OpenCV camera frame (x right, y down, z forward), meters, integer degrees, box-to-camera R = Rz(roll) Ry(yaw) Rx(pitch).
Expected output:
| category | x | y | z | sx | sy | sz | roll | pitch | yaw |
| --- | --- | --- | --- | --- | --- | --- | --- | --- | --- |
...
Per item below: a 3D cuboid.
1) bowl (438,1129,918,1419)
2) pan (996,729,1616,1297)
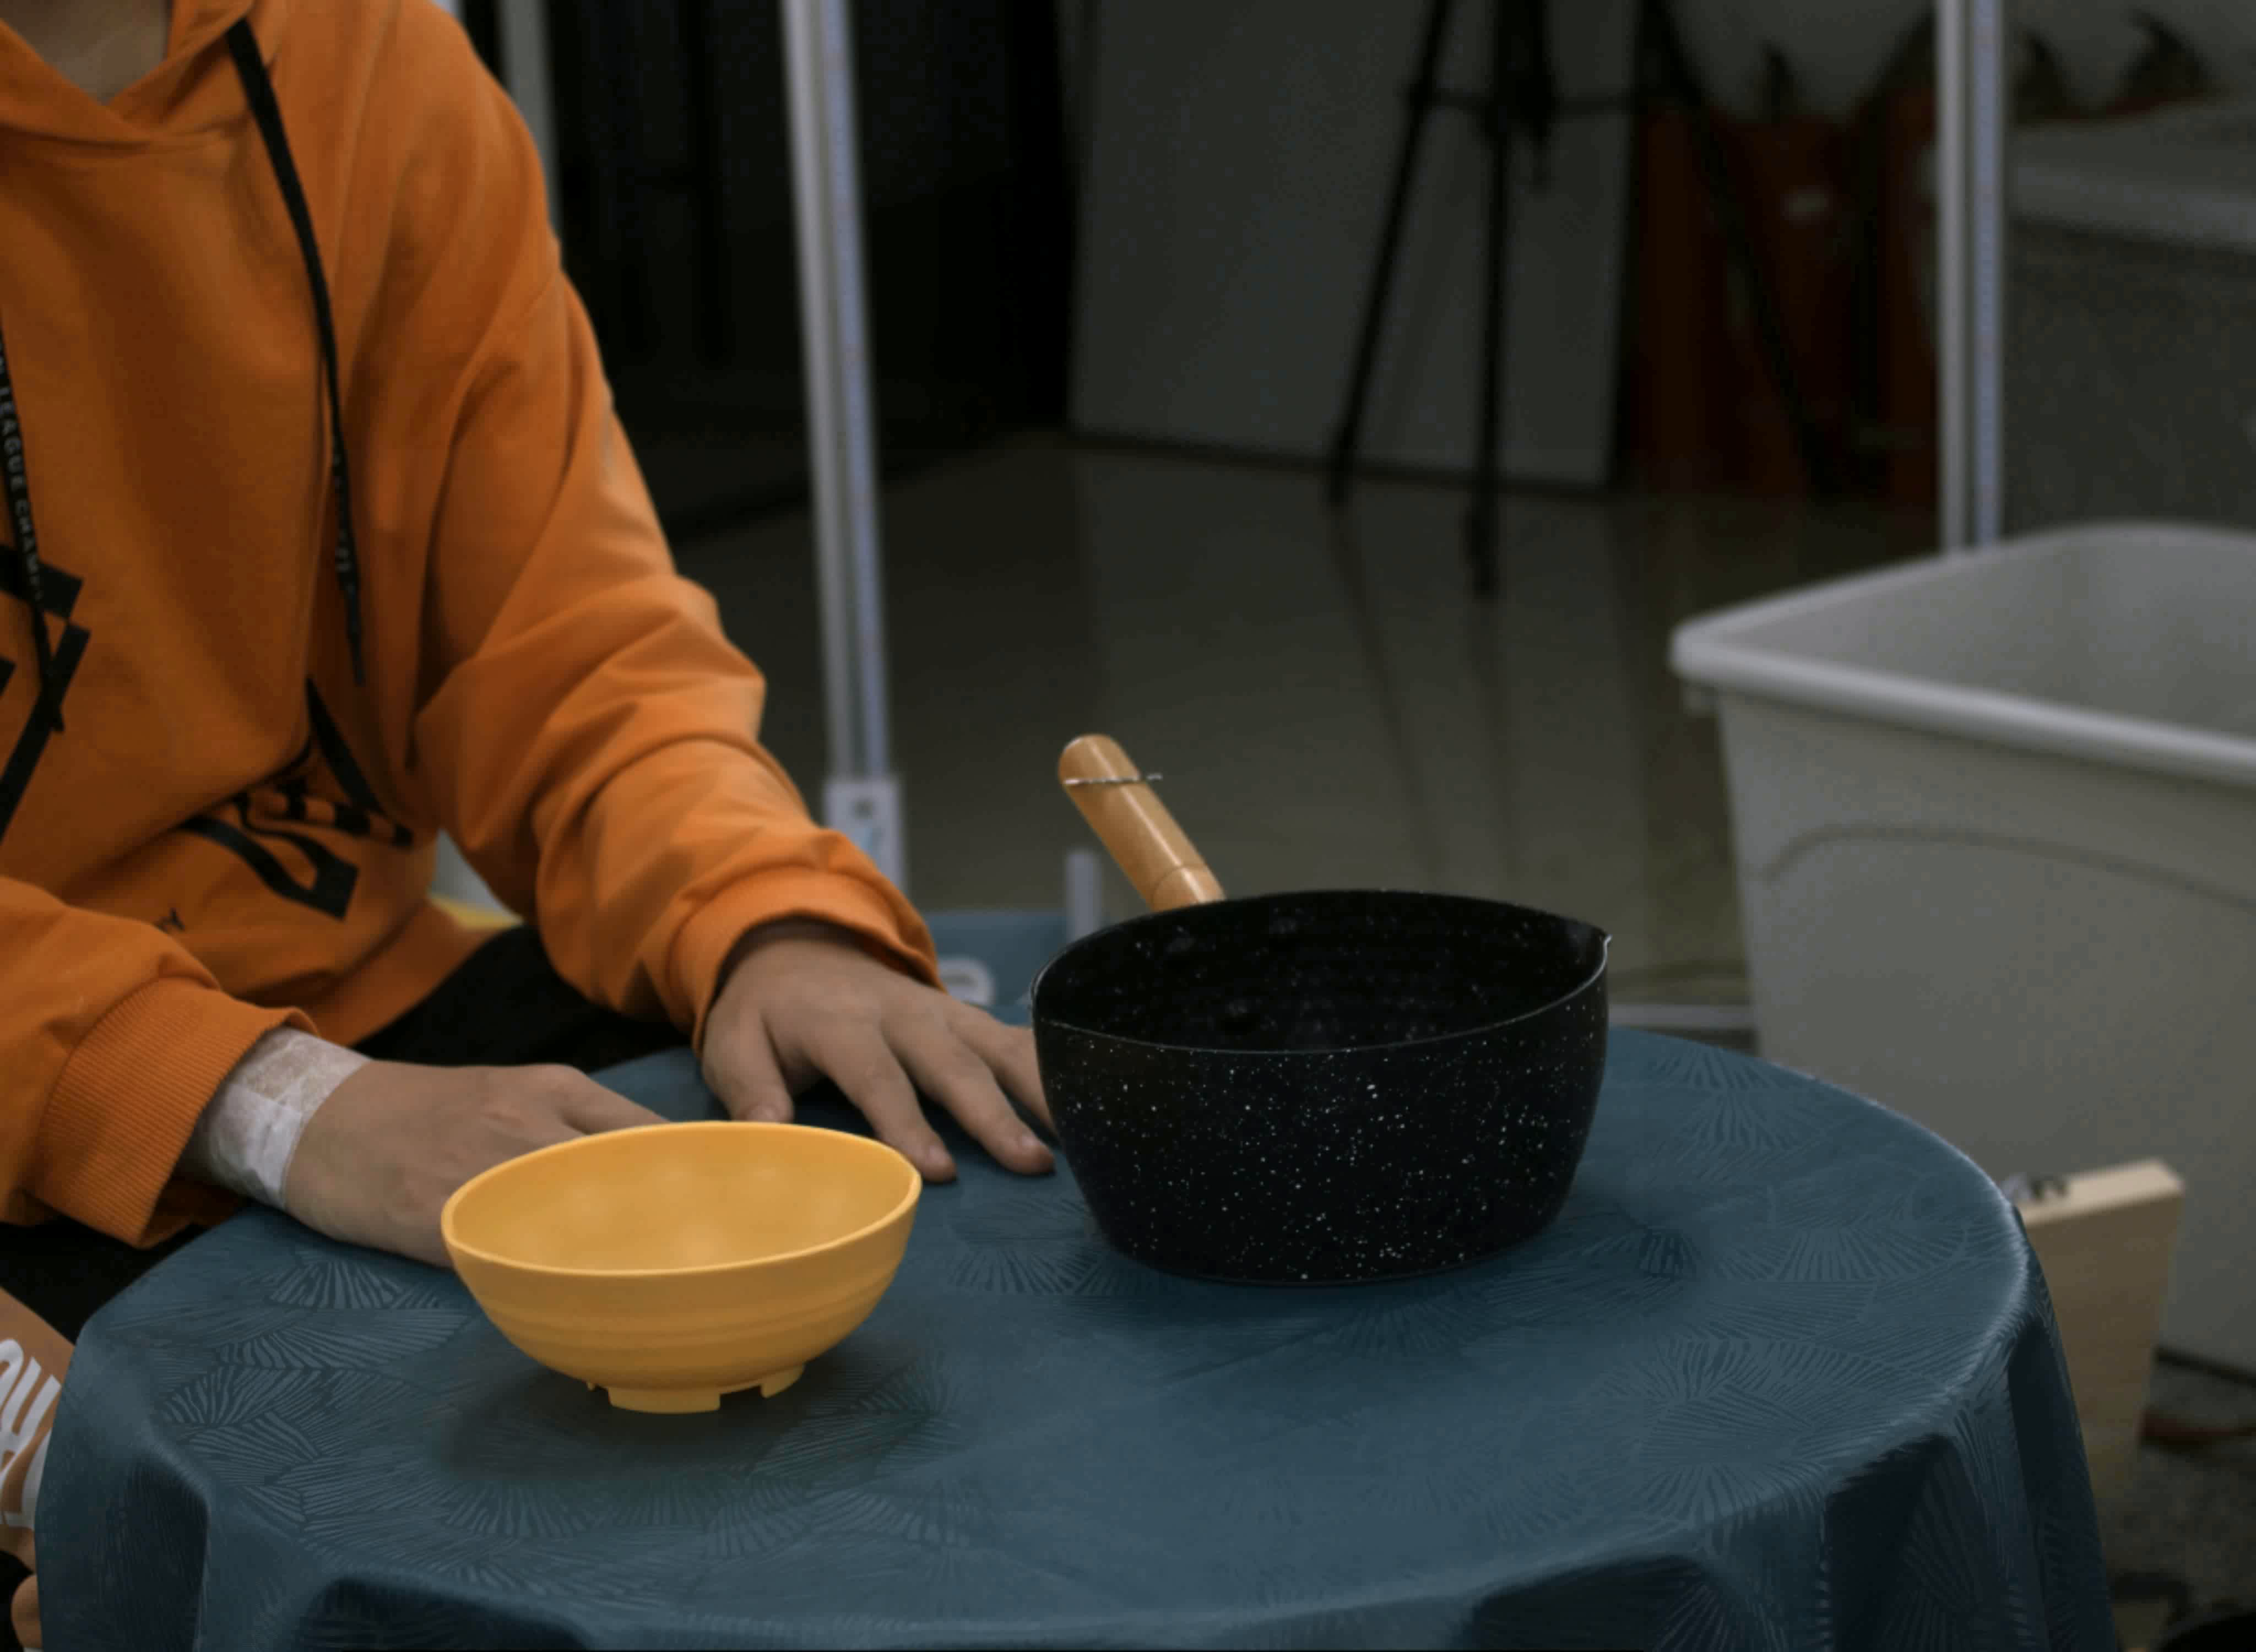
| category | x | y | z | sx | sy | sz | roll | pitch | yaw |
| --- | --- | --- | --- | --- | --- | --- | --- | --- | --- |
| bowl | -0.133 | 0.139 | 1.618 | 0.143 | 0.061 | 0.145 | -3 | 13 | 0 |
| pan | 0.038 | 0.057 | 1.795 | 0.203 | 0.109 | 0.346 | -10 | 16 | -16 |
